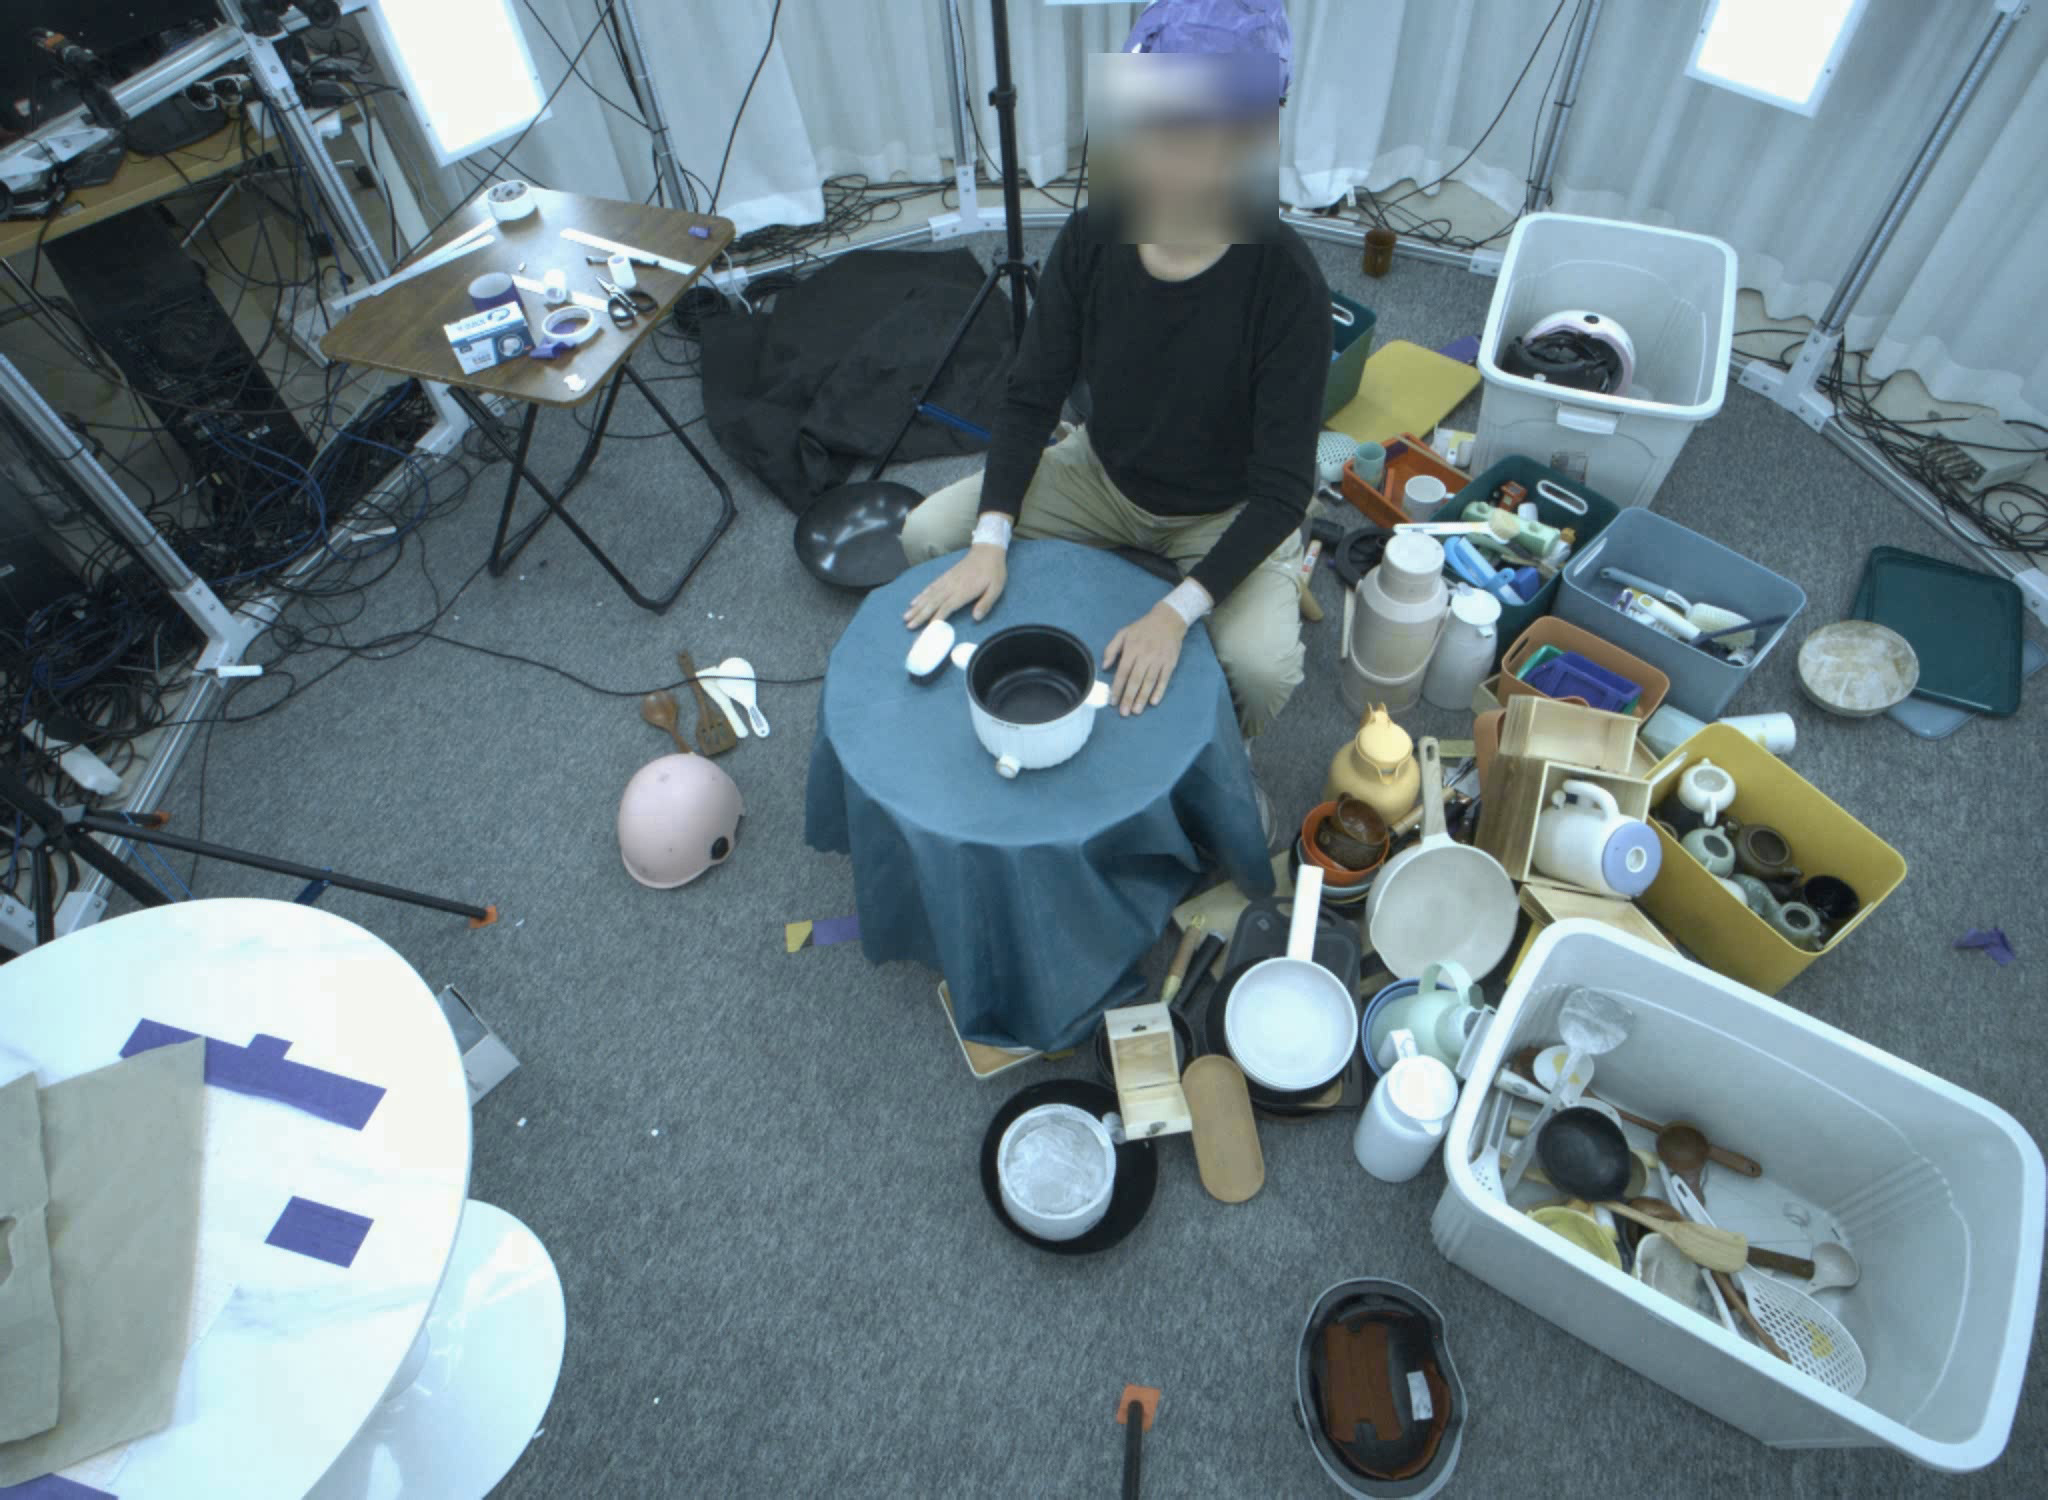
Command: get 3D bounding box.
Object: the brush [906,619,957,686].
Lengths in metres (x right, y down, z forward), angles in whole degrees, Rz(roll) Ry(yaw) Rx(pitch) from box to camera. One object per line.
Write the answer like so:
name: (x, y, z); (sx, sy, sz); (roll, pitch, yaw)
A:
brush: (-0.144, -0.156, 1.858); (0.049, 0.073, 0.099); (25, 60, 19)

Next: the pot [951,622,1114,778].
pot: (0.012, -0.065, 1.749); (0.238, 0.144, 0.190); (16, 54, 15)
